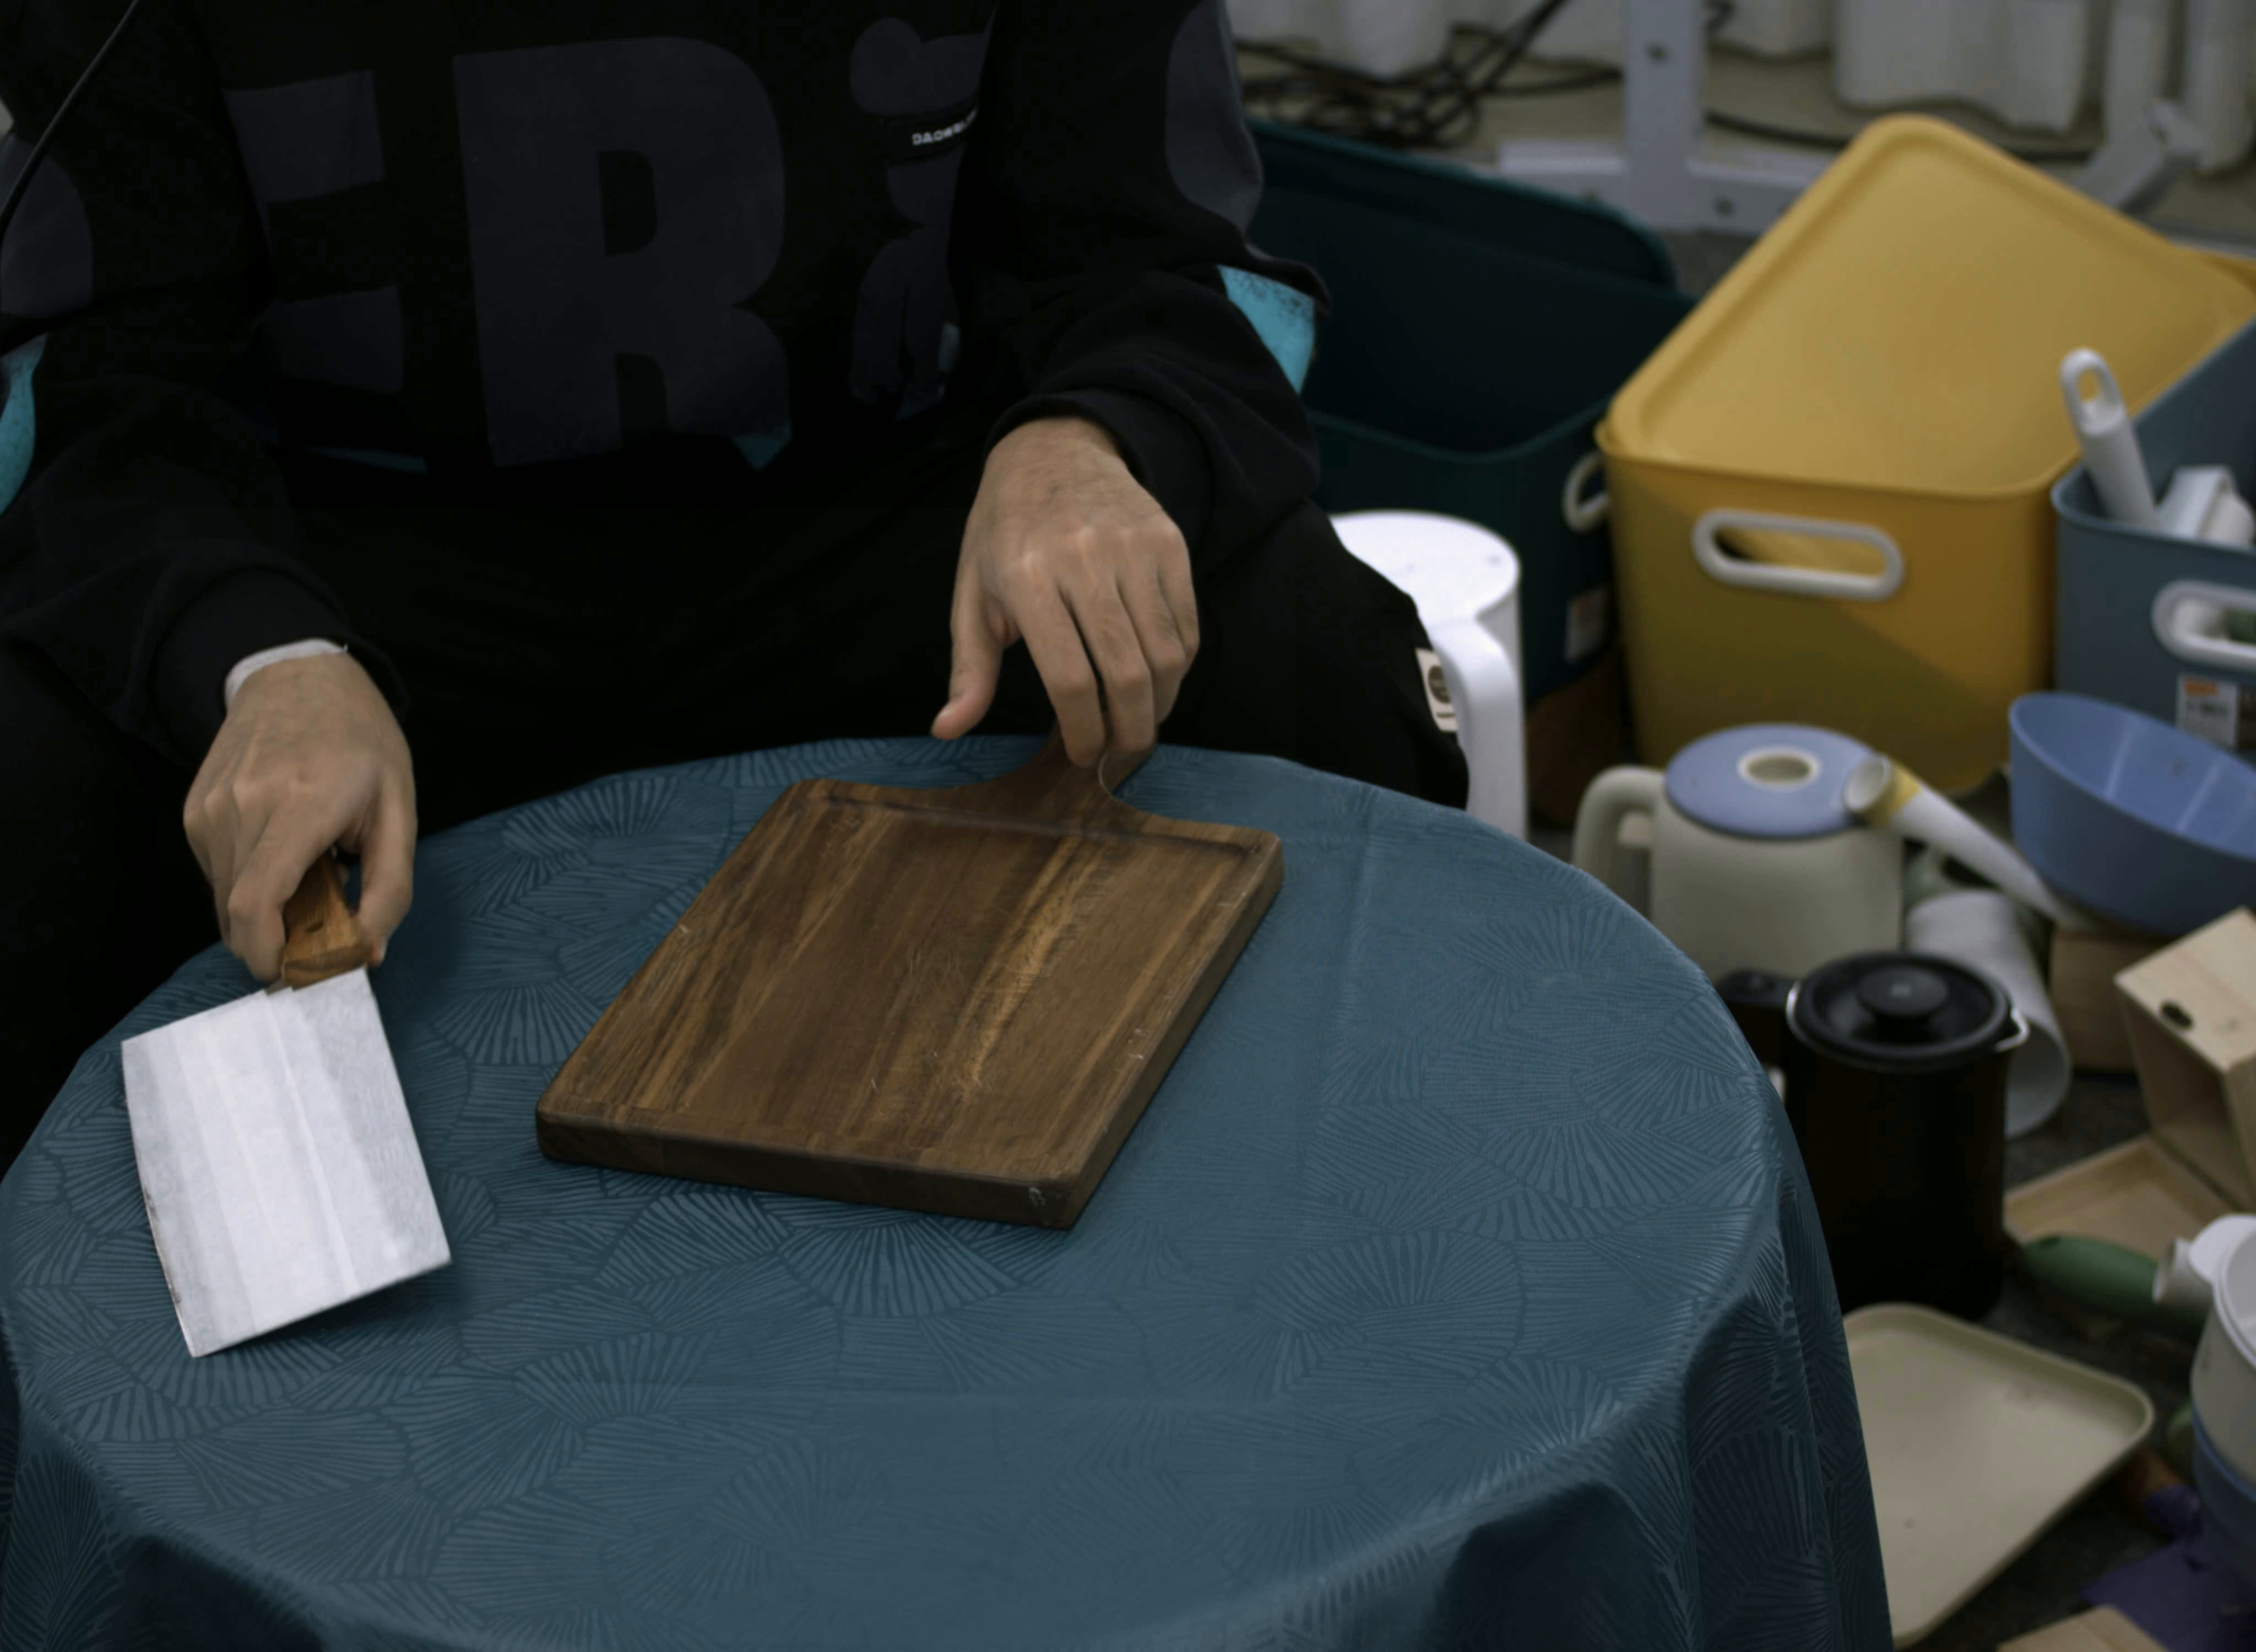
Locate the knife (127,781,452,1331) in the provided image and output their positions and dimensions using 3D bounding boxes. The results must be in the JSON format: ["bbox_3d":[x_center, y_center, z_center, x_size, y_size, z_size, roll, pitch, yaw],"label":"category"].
[{"bbox_3d":[-0.297,0.078,1.928,0.093,0.021,0.309,-23,34,-4],"label":"knife"}]

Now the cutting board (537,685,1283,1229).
[{"bbox_3d":[-0.057,0.036,2.011,0.199,0.023,0.358,6,29,17],"label":"cutting board"}]
